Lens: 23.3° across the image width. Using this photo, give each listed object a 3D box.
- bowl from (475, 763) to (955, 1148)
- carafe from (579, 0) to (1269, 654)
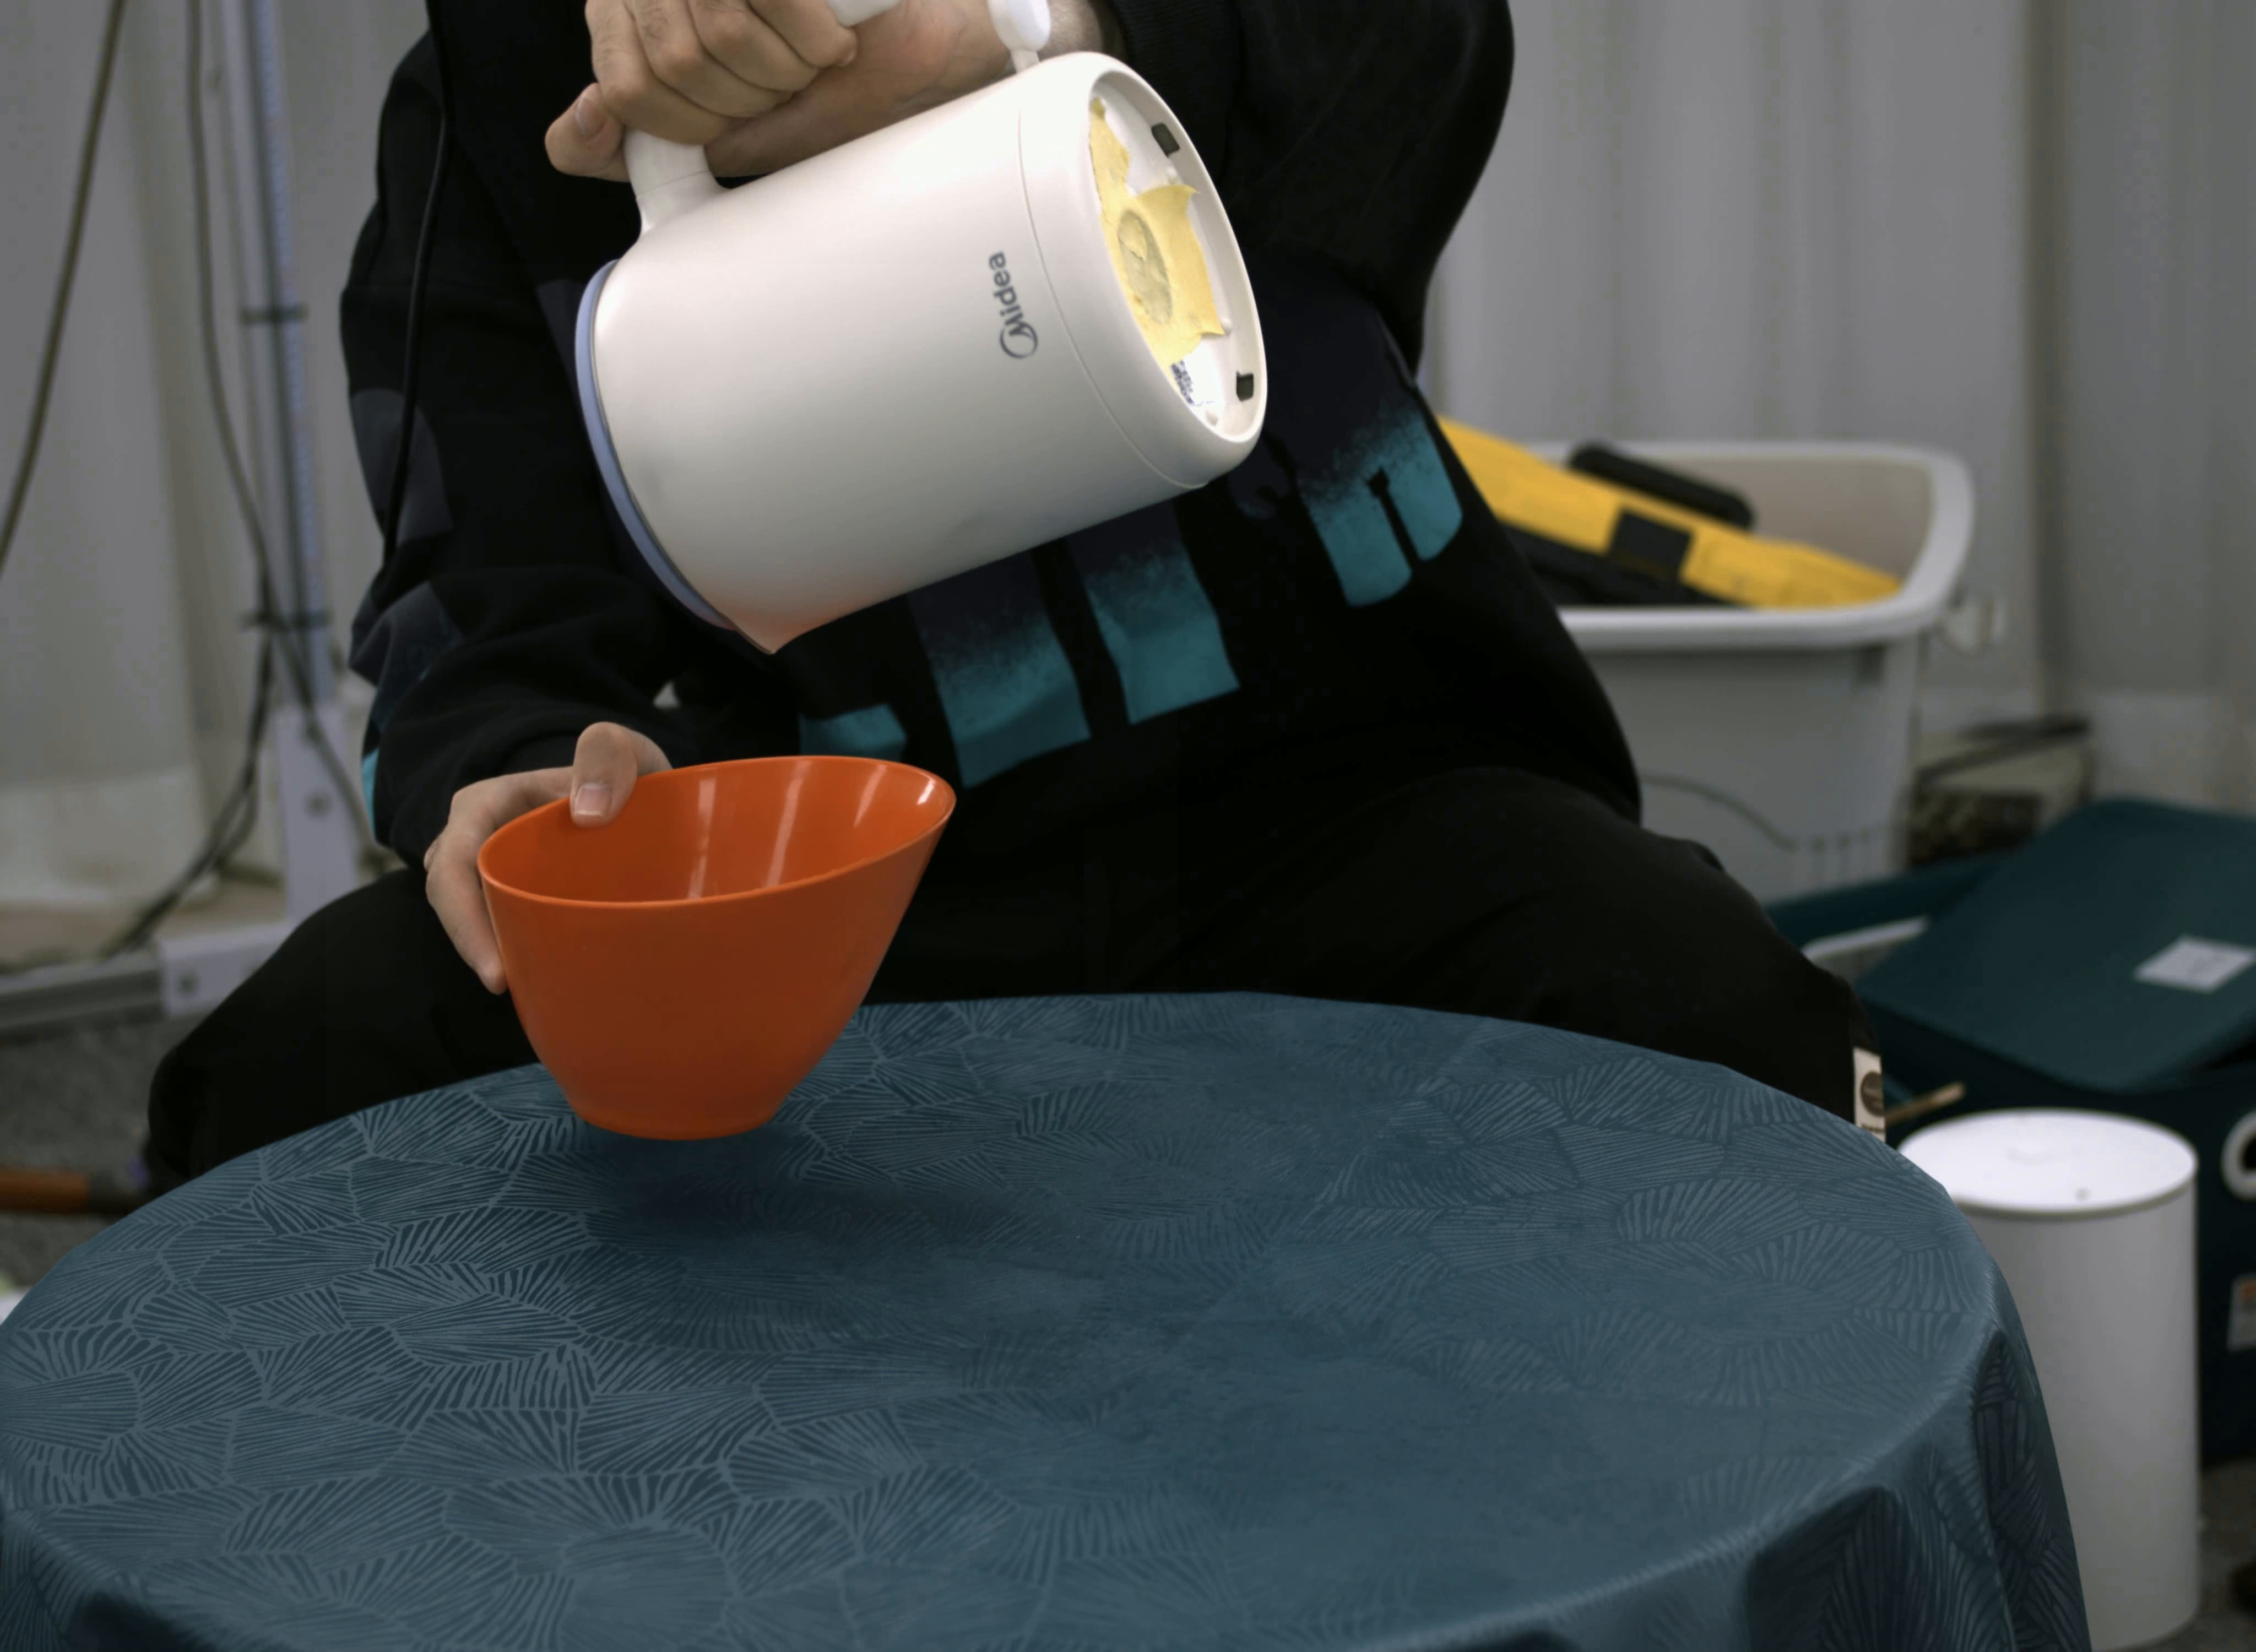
[{"bbox_3d":[-0.129,0.041,1.694,0.147,0.104,0.149,3,17,-1],"label":"bowl"},{"bbox_3d":[-0.067,-0.164,1.622,0.182,0.191,0.132,-16,1,19],"label":"carafe"}]
